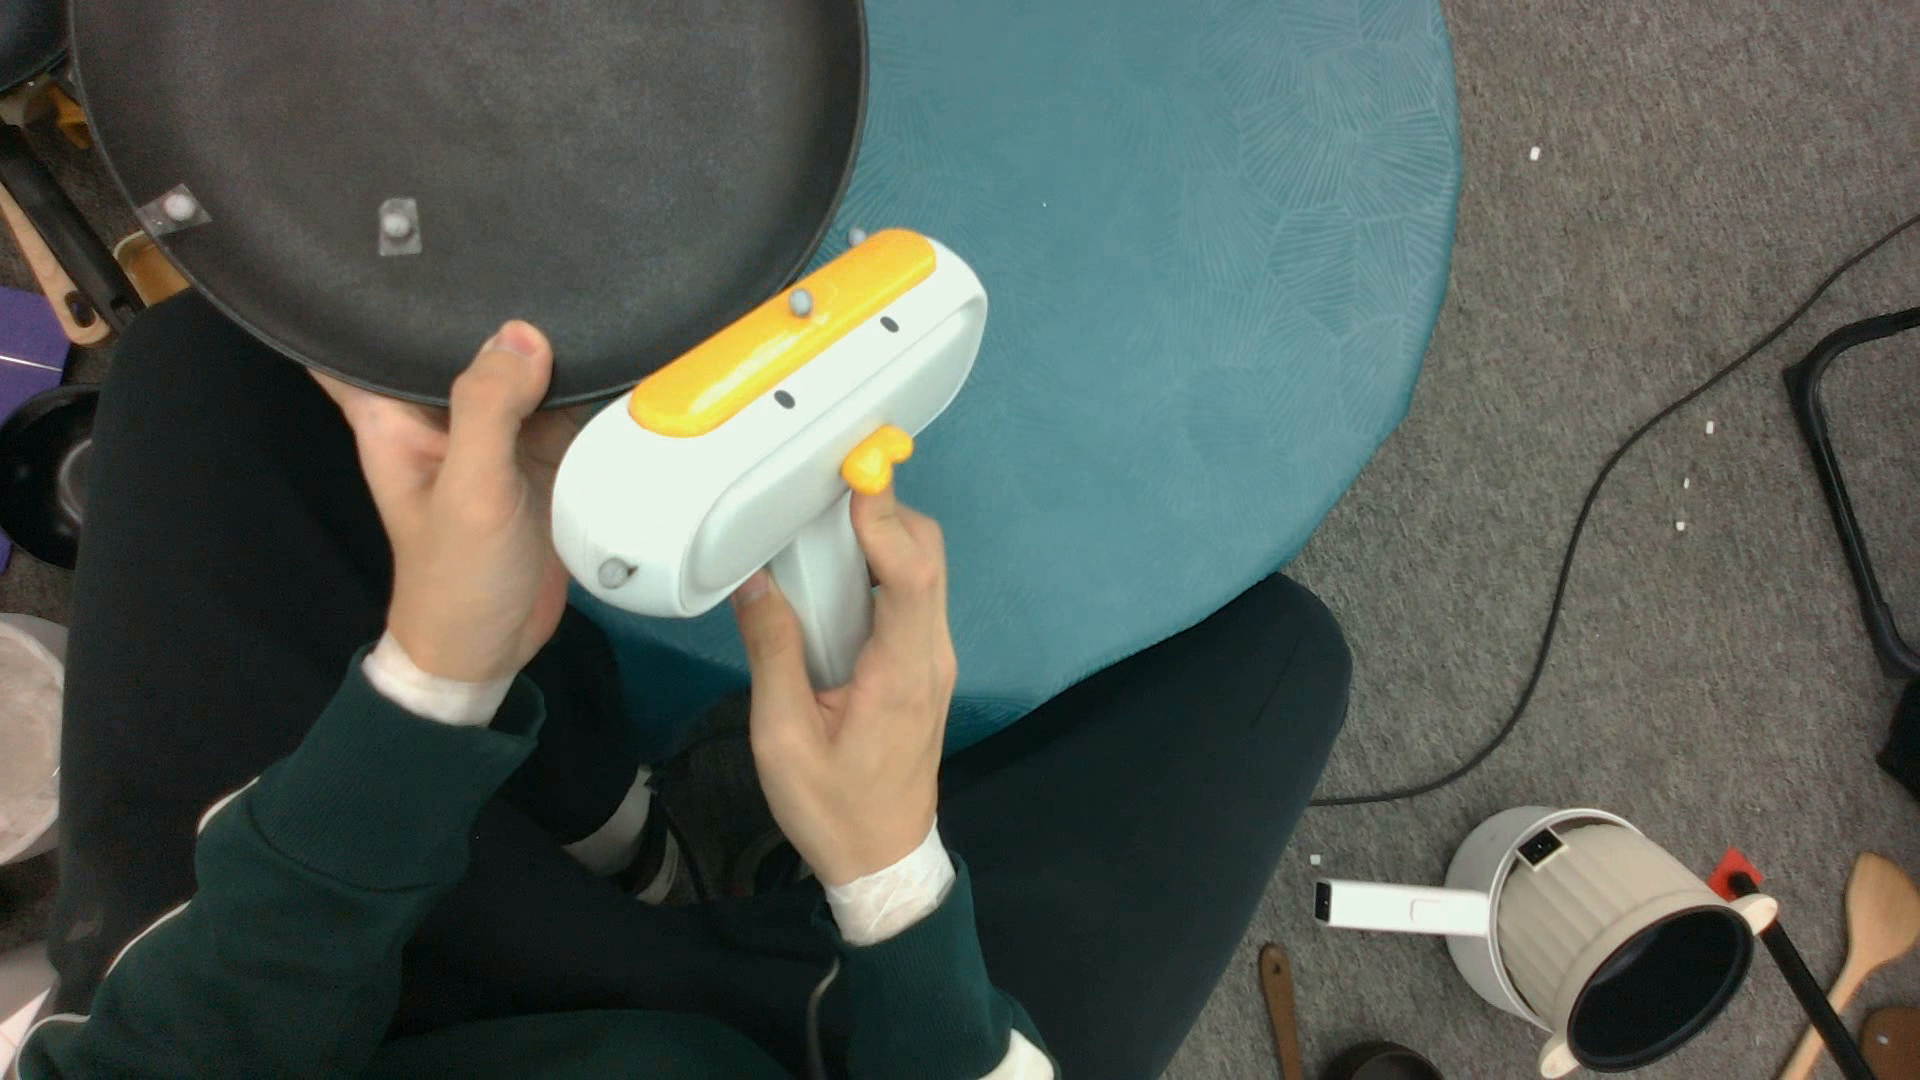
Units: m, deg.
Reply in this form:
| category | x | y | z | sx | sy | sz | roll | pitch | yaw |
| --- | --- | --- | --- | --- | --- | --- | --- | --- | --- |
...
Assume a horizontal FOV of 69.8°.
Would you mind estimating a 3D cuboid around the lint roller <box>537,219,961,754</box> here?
| category | x | y | z | sx | sy | sz | roll | pitch | yaw |
| --- | --- | --- | --- | --- | --- | --- | --- | --- | --- |
| lint roller | -0.059 | 0.001 | 0.499 | 0.074 | 0.191 | 0.194 | 19 | 45 | 17 |

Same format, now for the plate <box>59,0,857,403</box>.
| category | x | y | z | sx | sy | sz | roll | pitch | yaw |
| --- | --- | --- | --- | --- | --- | --- | --- | --- | --- |
| plate | -0.157 | -0.165 | 0.453 | 0.244 | 0.023 | 0.244 | 0 | 88 | -13 |
